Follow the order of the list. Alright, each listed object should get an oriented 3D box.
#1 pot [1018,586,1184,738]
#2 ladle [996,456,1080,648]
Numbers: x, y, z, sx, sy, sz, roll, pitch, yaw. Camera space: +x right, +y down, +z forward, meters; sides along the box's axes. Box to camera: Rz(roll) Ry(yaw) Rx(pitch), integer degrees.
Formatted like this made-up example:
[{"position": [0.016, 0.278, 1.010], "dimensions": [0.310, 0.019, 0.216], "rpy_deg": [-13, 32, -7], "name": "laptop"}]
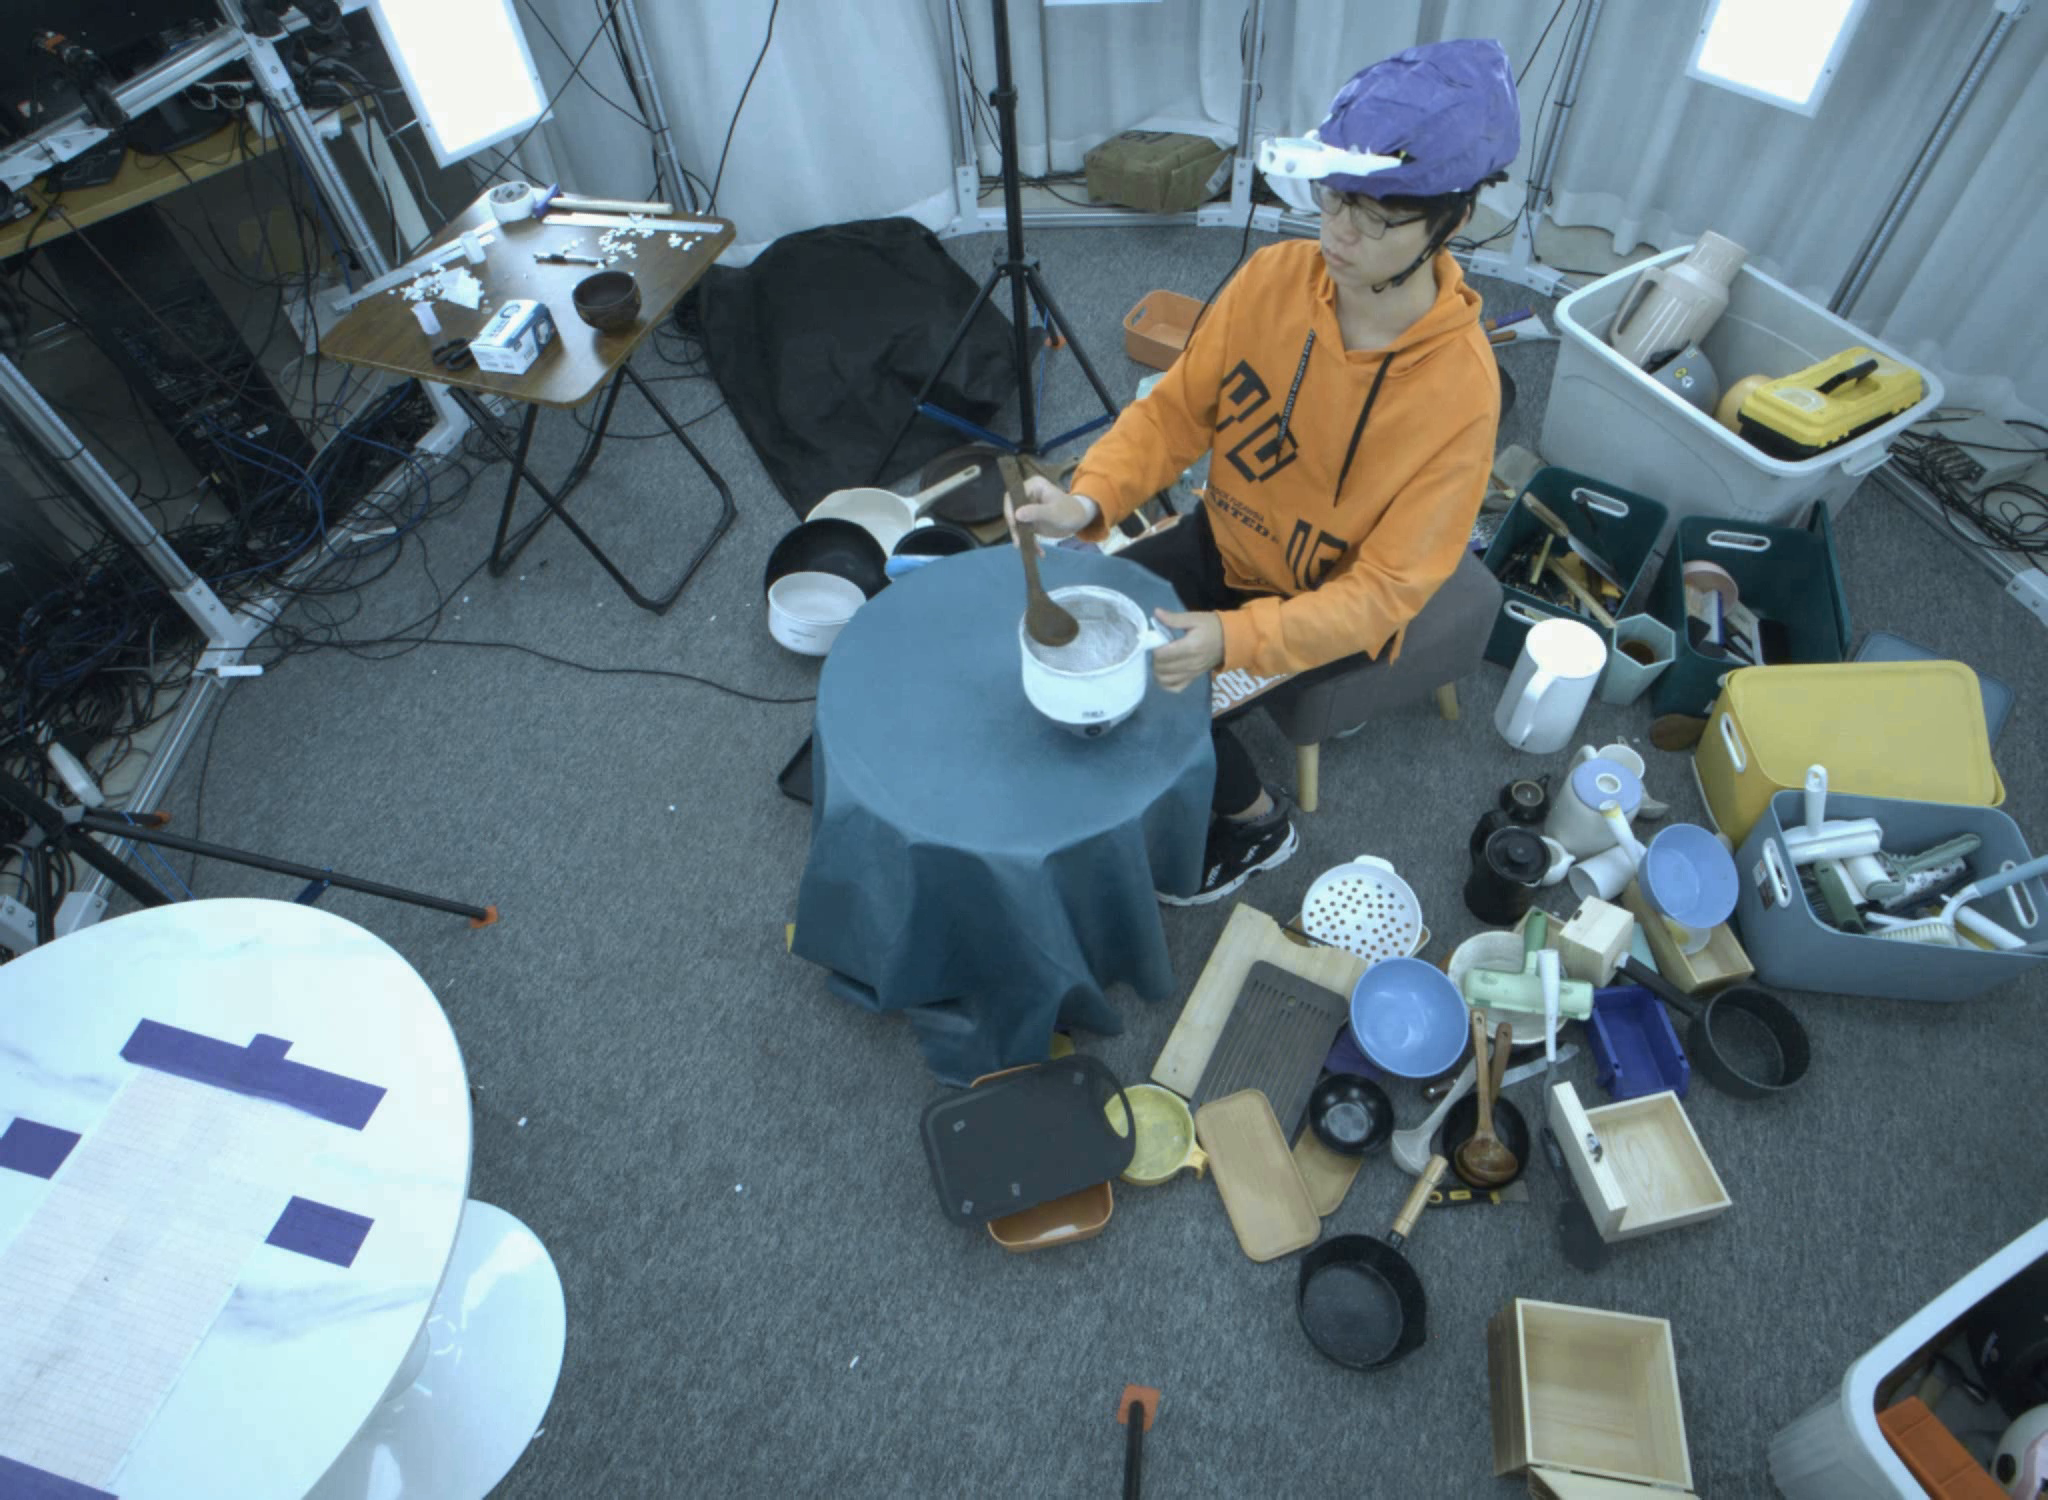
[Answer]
[{"position": [0.111, -0.128, 1.735], "dimensions": [0.234, 0.138, 0.176], "rpy_deg": [-8, 51, -4], "name": "pot"}, {"position": [0.015, -0.272, 1.662], "dimensions": [0.077, 0.070, 0.275], "rpy_deg": [-17, 98, -33], "name": "ladle"}]
